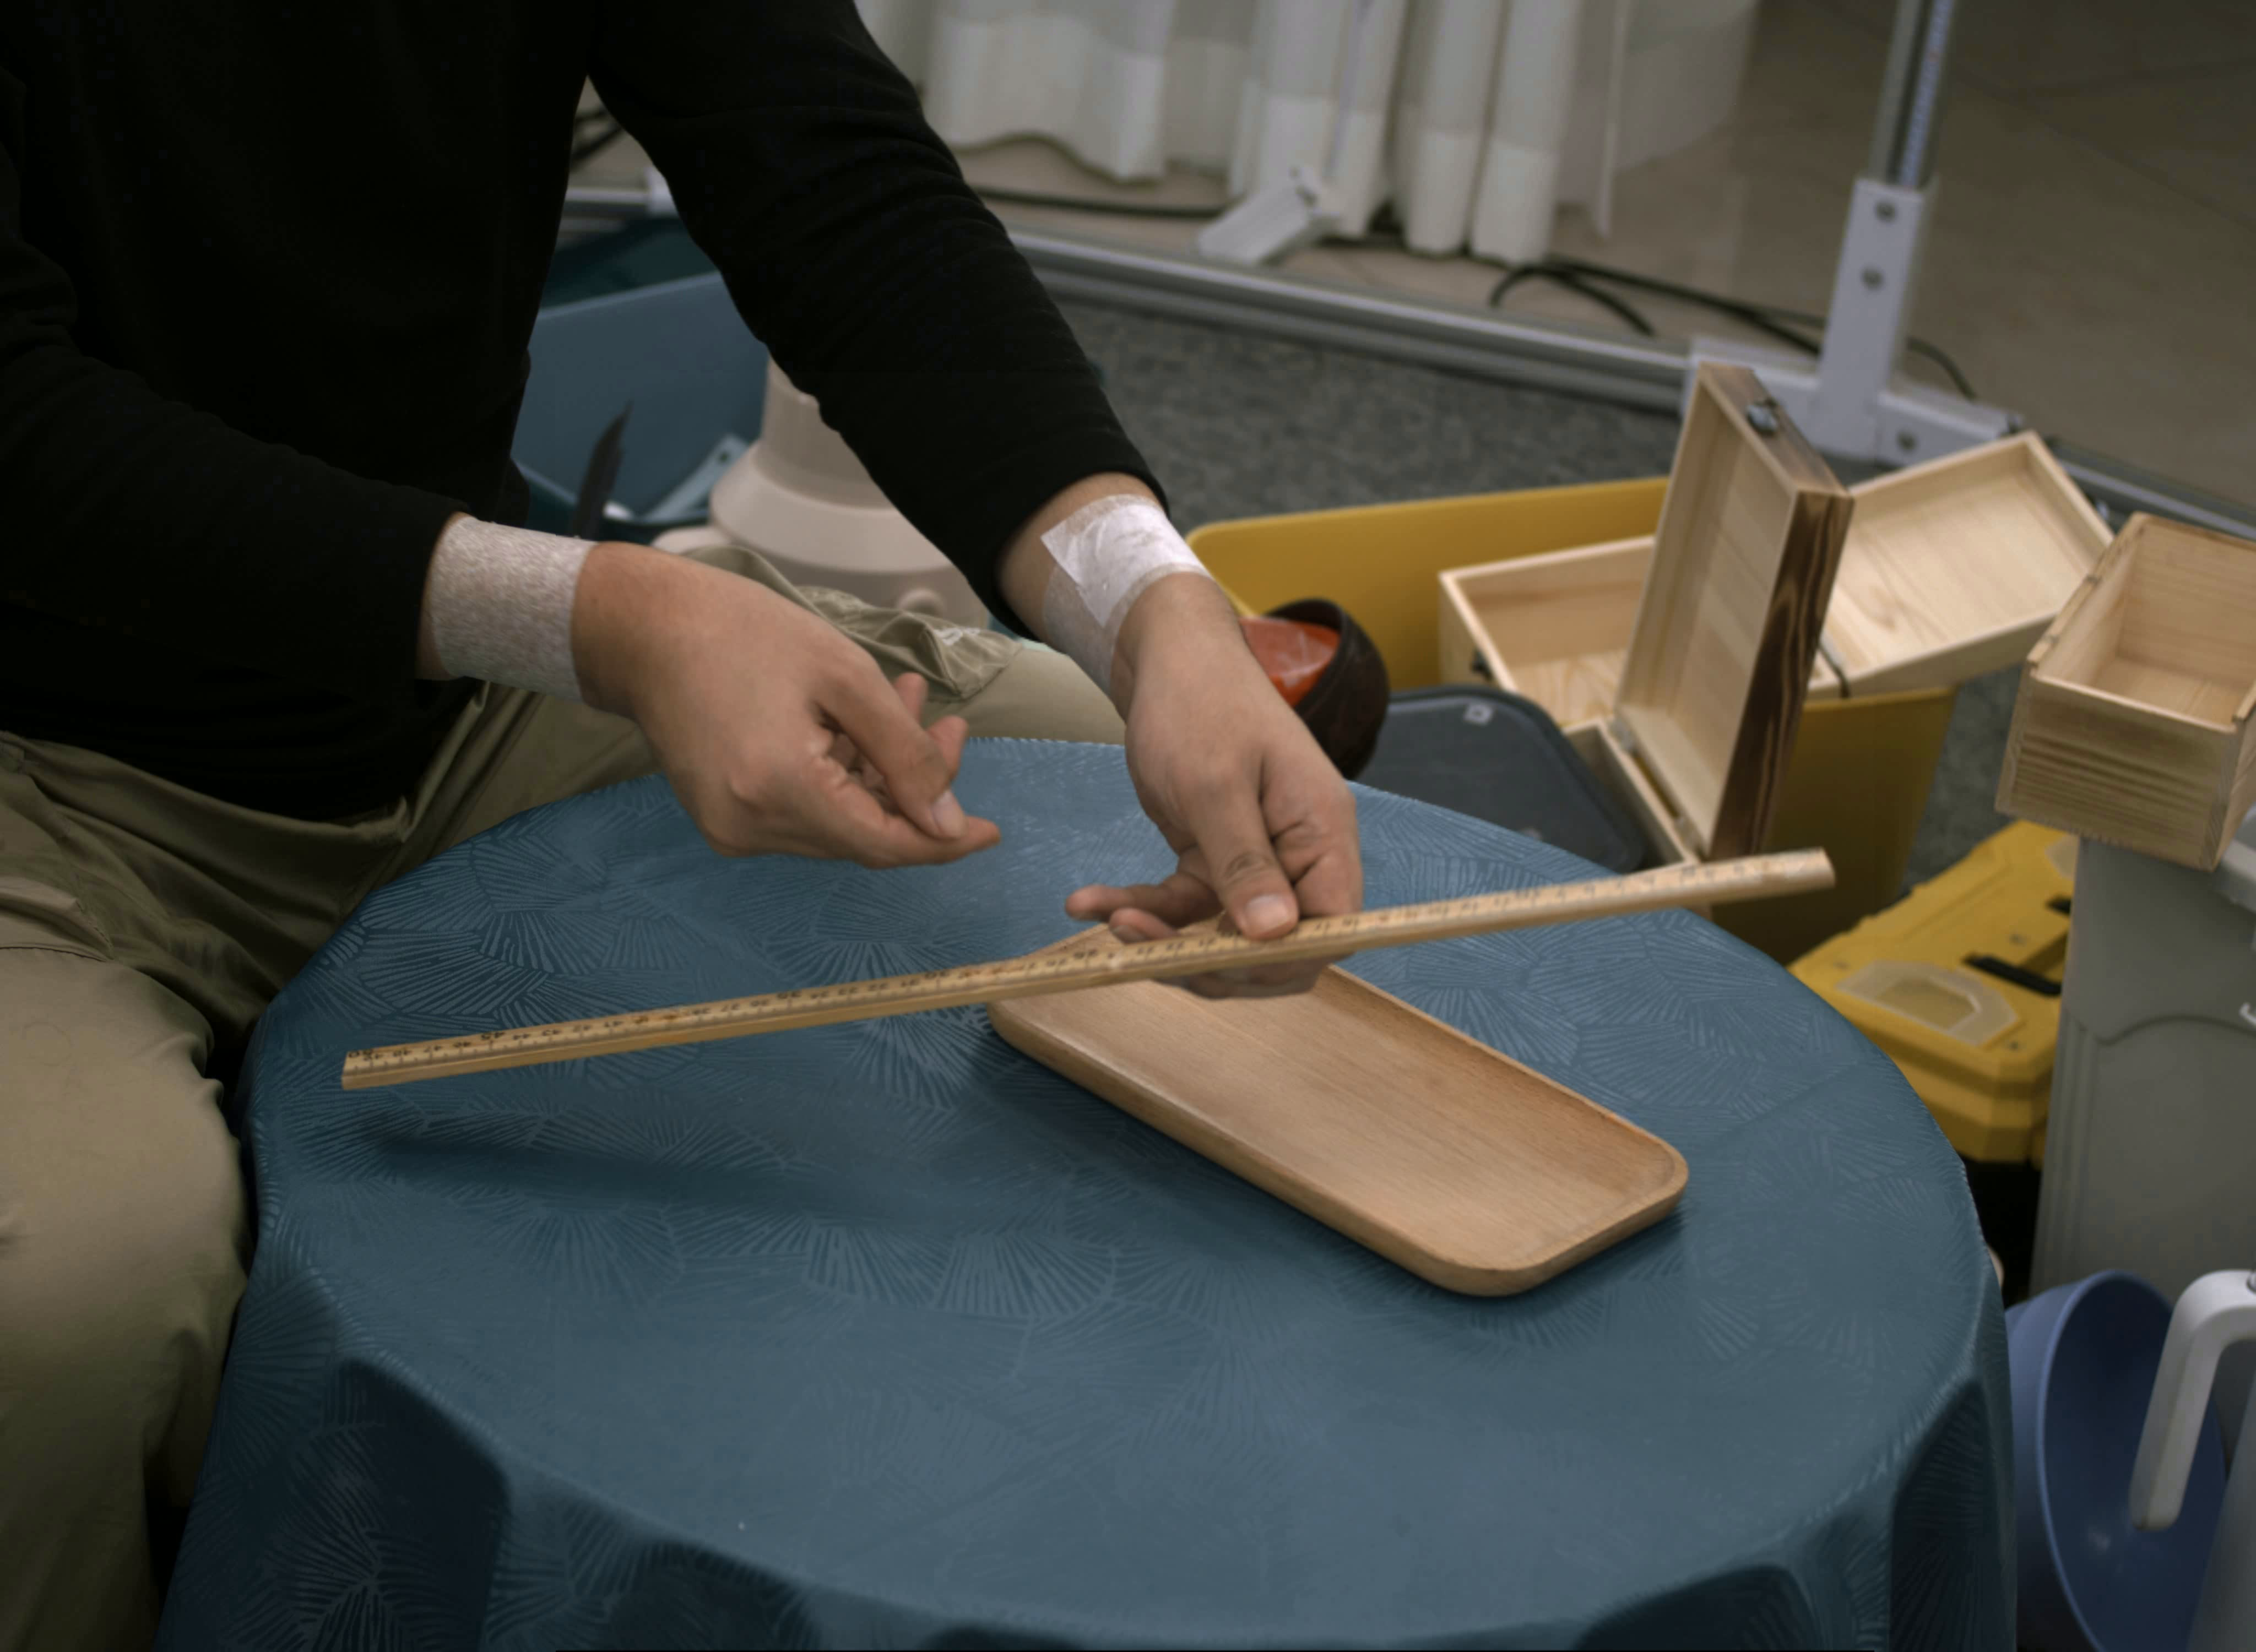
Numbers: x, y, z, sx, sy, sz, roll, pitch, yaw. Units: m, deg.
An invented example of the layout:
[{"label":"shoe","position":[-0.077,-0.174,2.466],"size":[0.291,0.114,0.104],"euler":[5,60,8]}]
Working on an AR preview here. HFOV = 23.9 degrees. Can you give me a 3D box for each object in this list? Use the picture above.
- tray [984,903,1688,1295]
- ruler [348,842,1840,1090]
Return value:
[{"label":"tray","position":[0.070,0.093,1.861],"size":[0.252,0.023,0.130],"euler":[27,31,37]},{"label":"ruler","position":[-0.012,0.046,1.769],"size":[0.499,0.006,0.027],"euler":[-8,17,-1]}]
